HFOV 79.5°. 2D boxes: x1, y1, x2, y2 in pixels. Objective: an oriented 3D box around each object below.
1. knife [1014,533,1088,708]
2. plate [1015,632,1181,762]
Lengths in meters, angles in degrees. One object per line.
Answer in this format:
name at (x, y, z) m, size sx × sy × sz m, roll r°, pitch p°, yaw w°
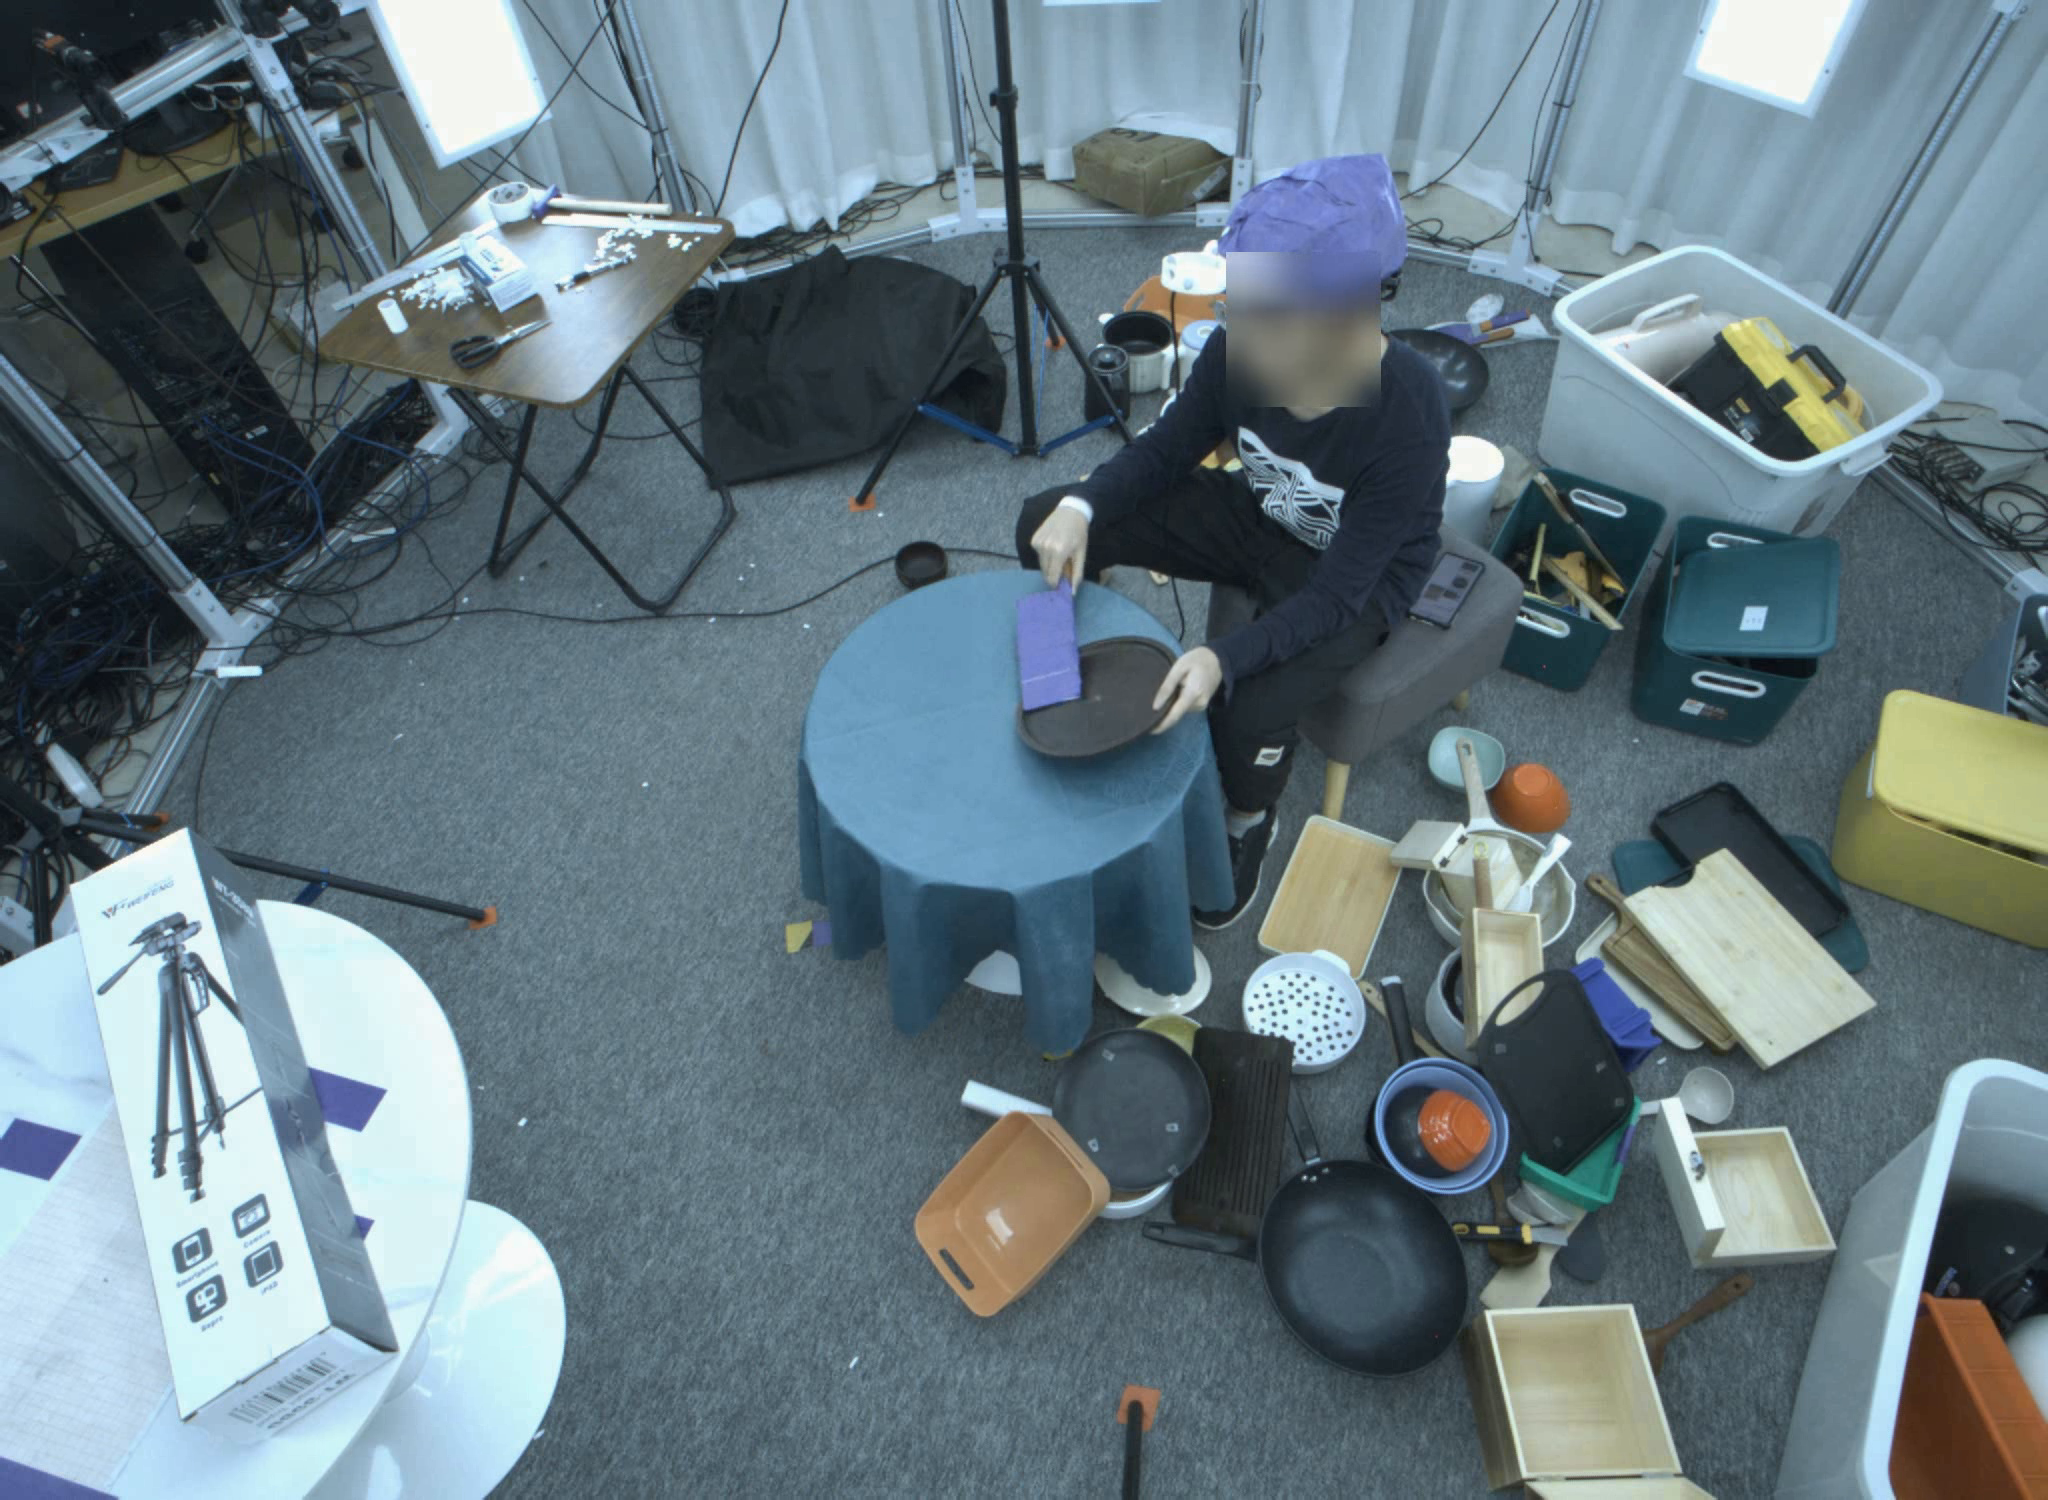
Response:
knife at (0.032, -0.202, 1.876) m, size 0.103 × 0.033 × 0.311 m, roll -11°, pitch 57°, yaw 10°
plate at (0.107, -0.076, 1.781) m, size 0.252 × 0.029 × 0.252 m, roll -15°, pitch 41°, yaw 15°
